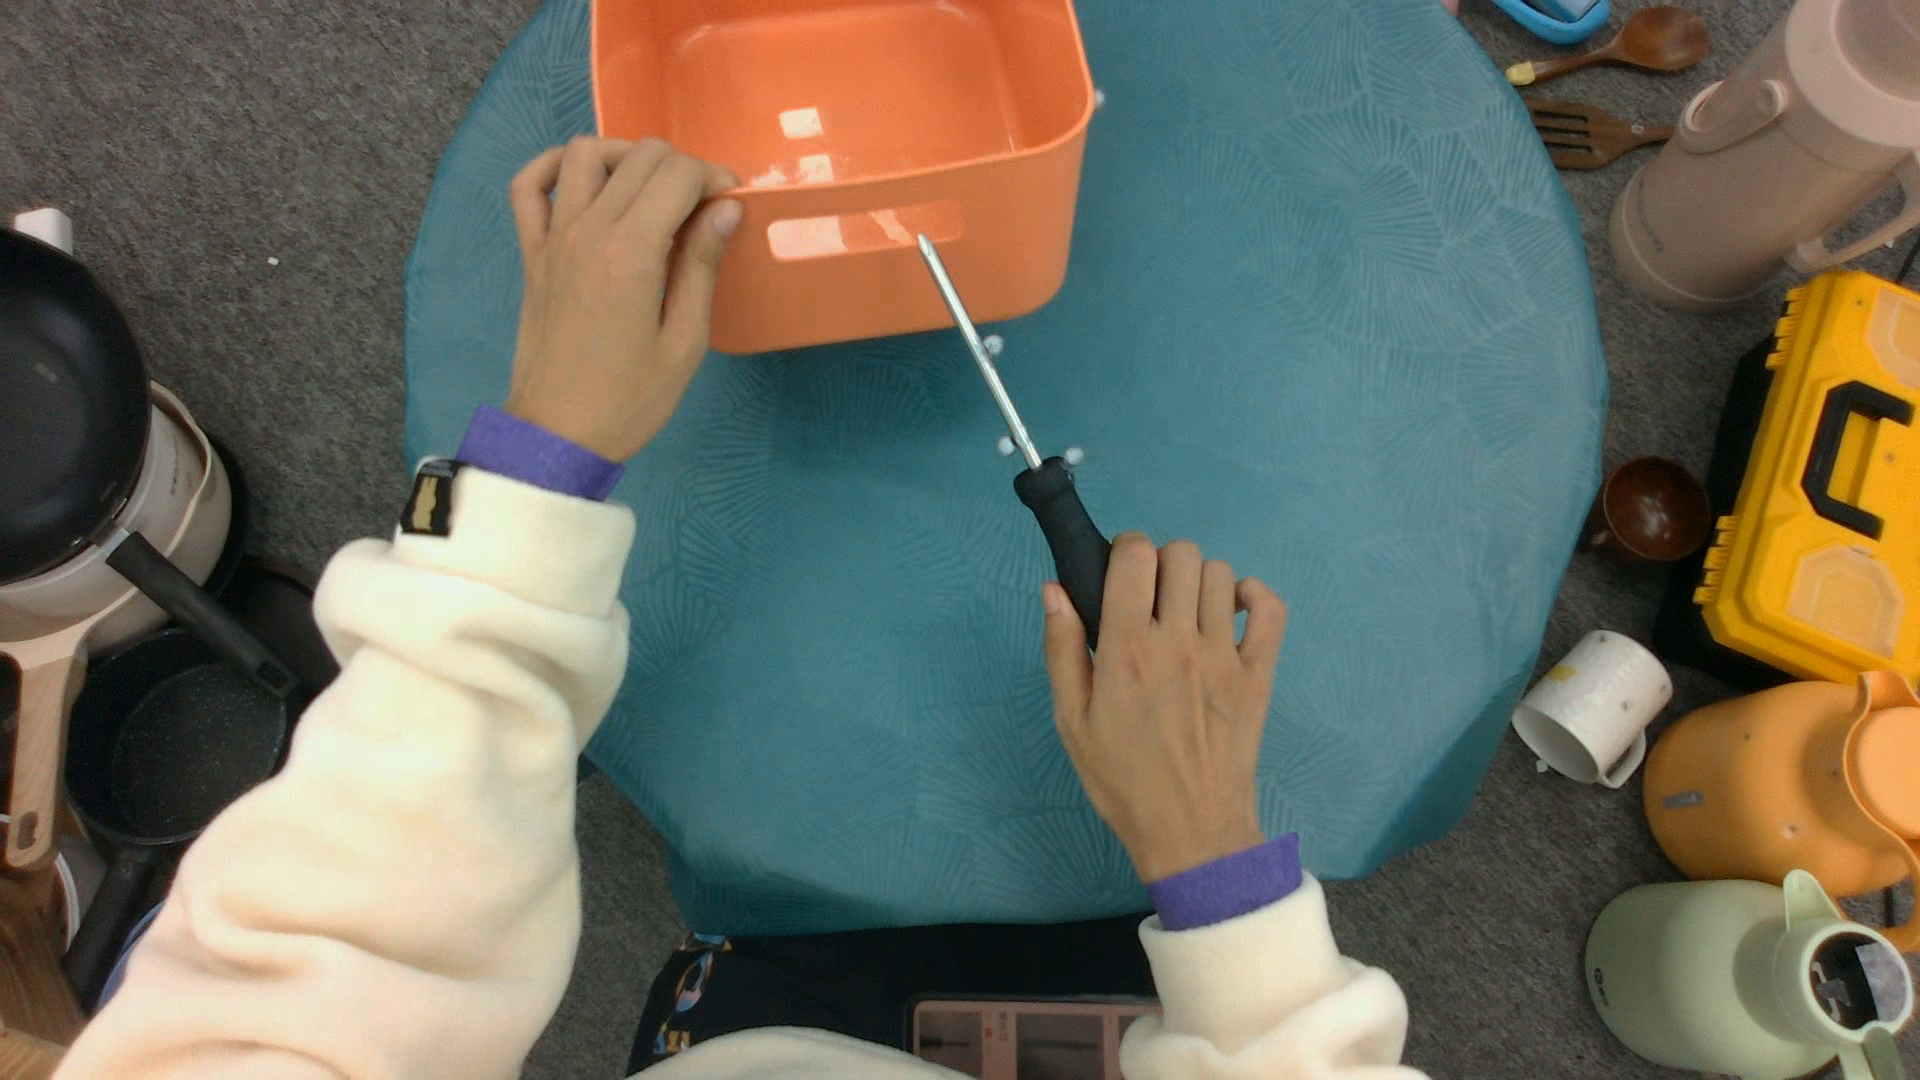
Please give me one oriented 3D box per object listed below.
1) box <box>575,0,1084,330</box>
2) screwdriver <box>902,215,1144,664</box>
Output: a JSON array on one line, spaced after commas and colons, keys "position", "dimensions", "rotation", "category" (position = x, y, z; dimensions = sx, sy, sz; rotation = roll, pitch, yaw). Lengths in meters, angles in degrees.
[{"position": [-0.064, -0.218, 0.624], "dimensions": [0.199, 0.102, 0.274], "rotation": [-8, 52, -6], "category": "box"}, {"position": [0.025, -0.039, 0.544], "dimensions": [0.031, 0.031, 0.196], "rotation": [-27, 99, -9], "category": "screwdriver"}]
